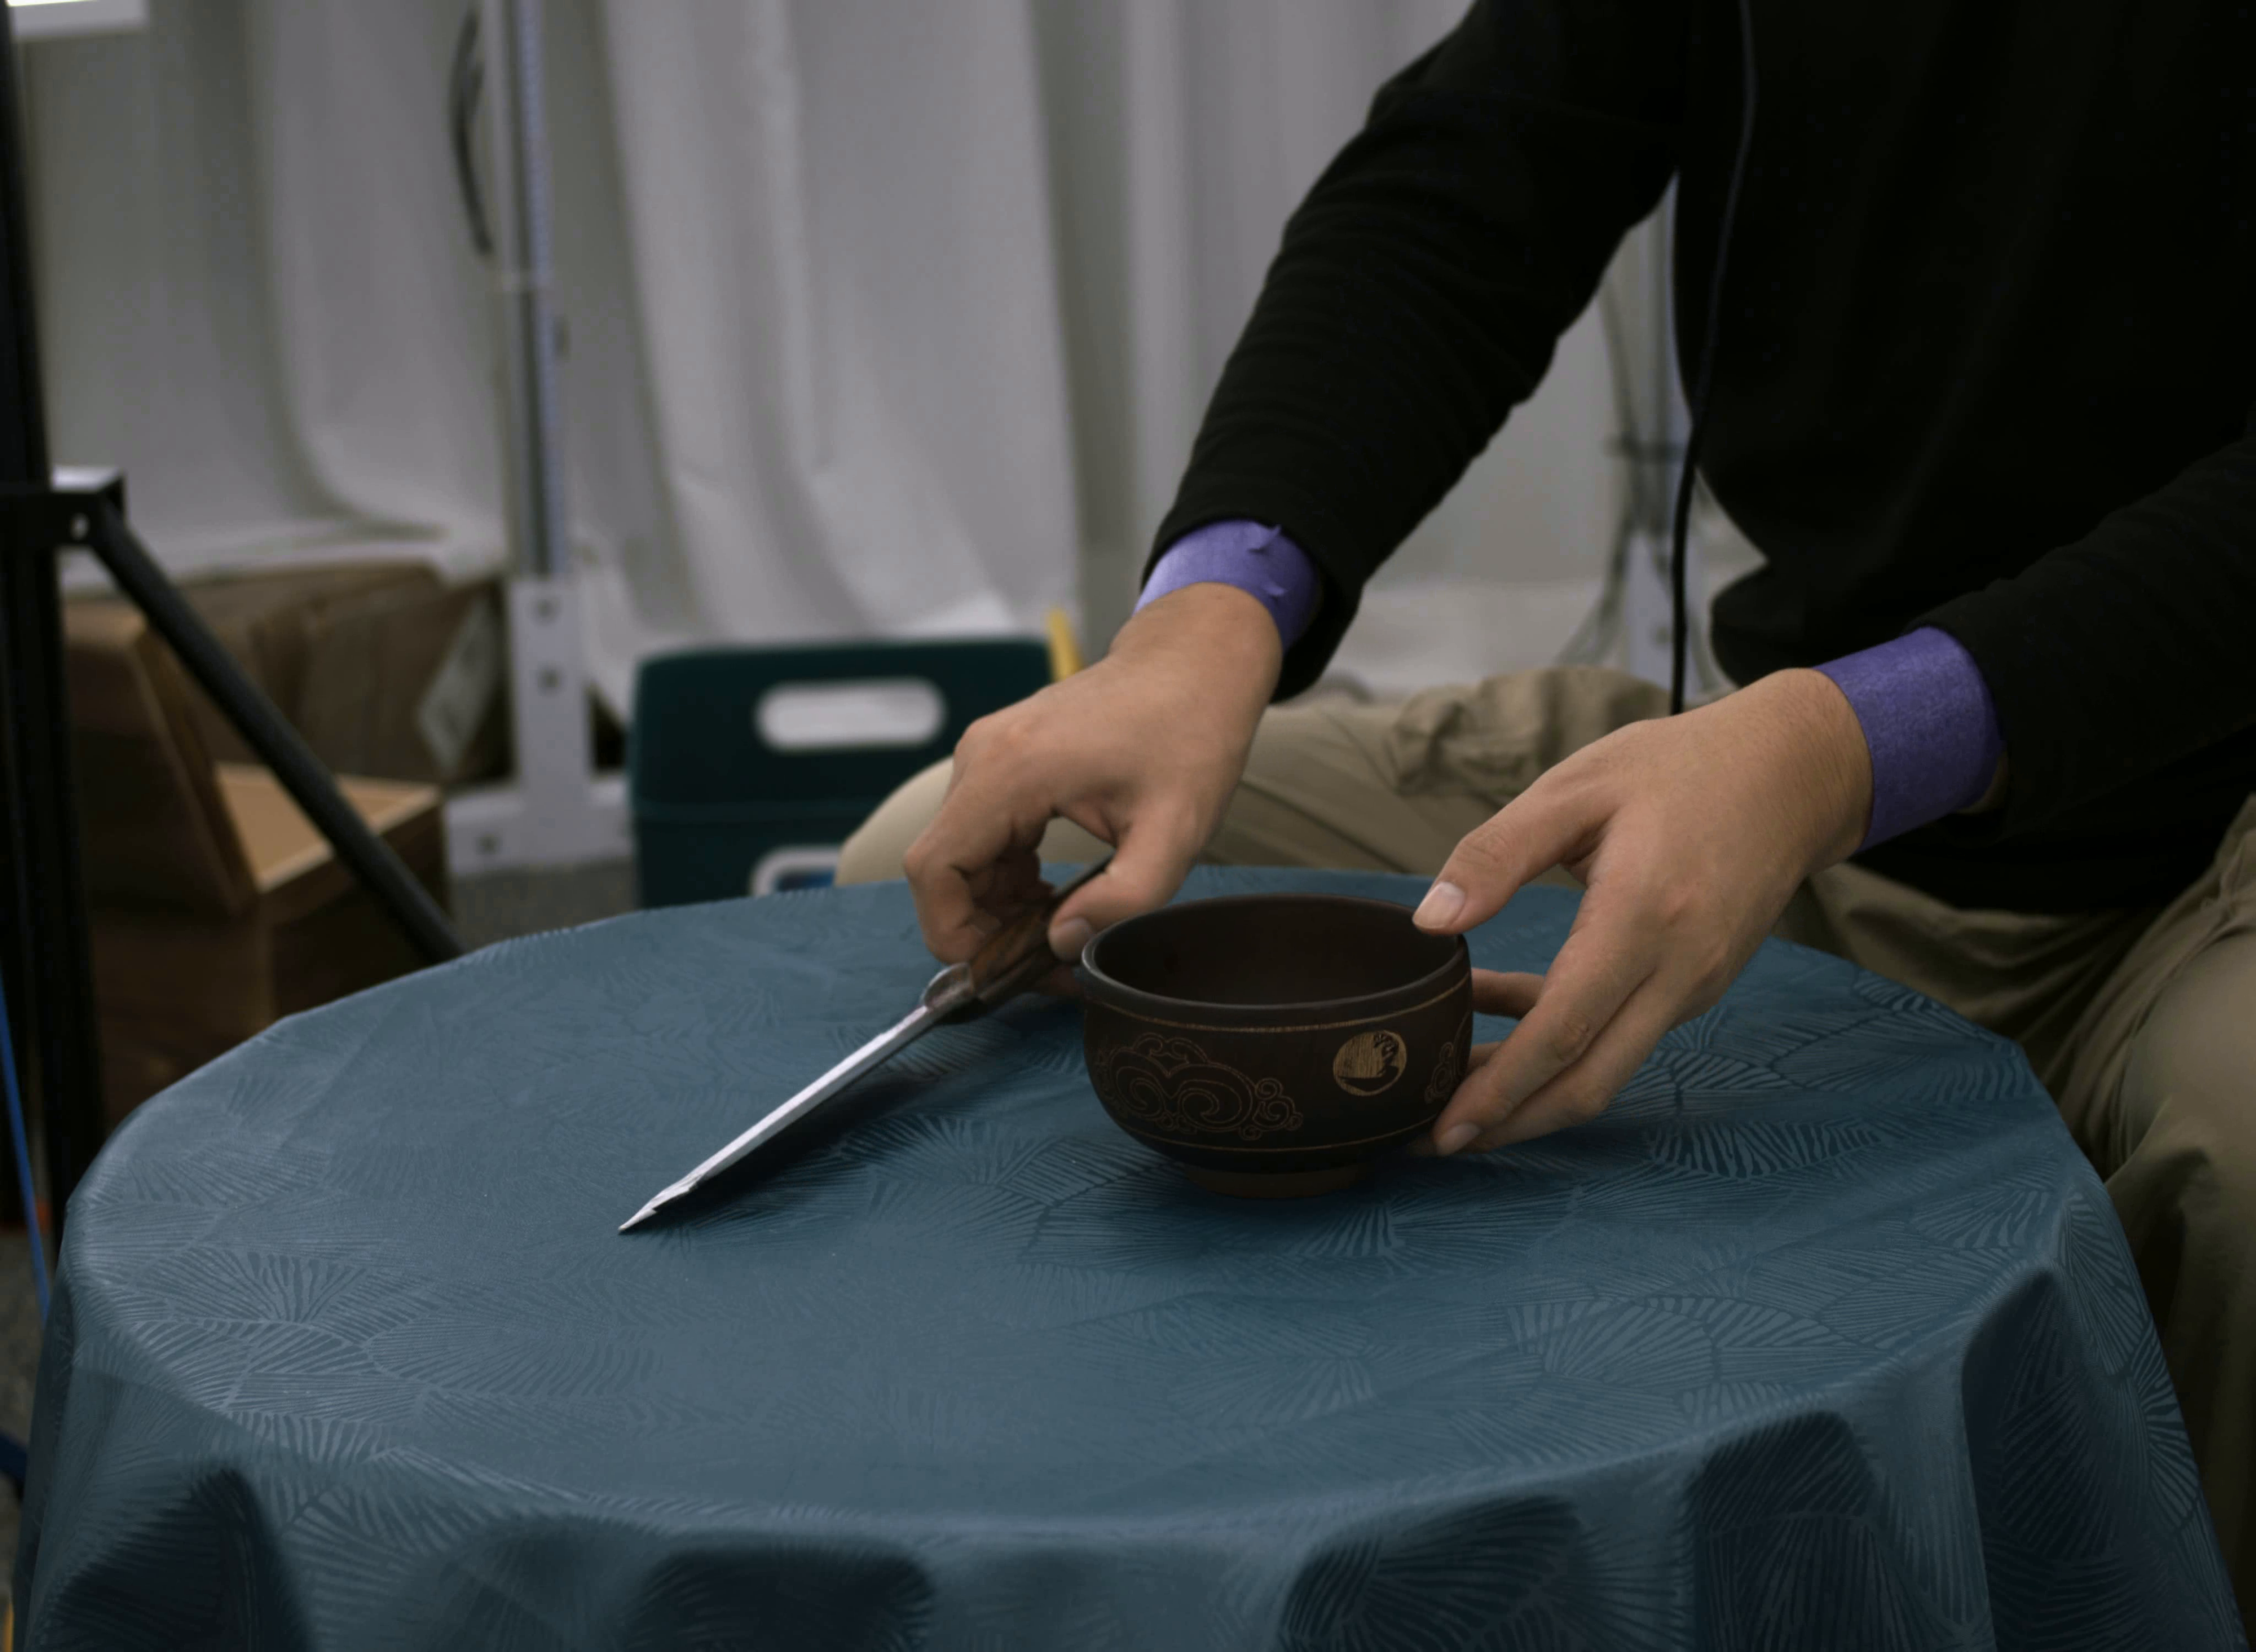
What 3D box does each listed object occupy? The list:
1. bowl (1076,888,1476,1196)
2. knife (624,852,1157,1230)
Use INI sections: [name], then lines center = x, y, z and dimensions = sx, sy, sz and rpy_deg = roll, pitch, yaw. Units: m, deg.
[bowl]
center = 0.044, 0.067, 1.560
dimensions = 0.117, 0.070, 0.118
rpy_deg = -2, 15, -1
[knife]
center = -0.070, 0.066, 1.649
dimensions = 0.051, 0.020, 0.284
rpy_deg = -26, 5, 38
